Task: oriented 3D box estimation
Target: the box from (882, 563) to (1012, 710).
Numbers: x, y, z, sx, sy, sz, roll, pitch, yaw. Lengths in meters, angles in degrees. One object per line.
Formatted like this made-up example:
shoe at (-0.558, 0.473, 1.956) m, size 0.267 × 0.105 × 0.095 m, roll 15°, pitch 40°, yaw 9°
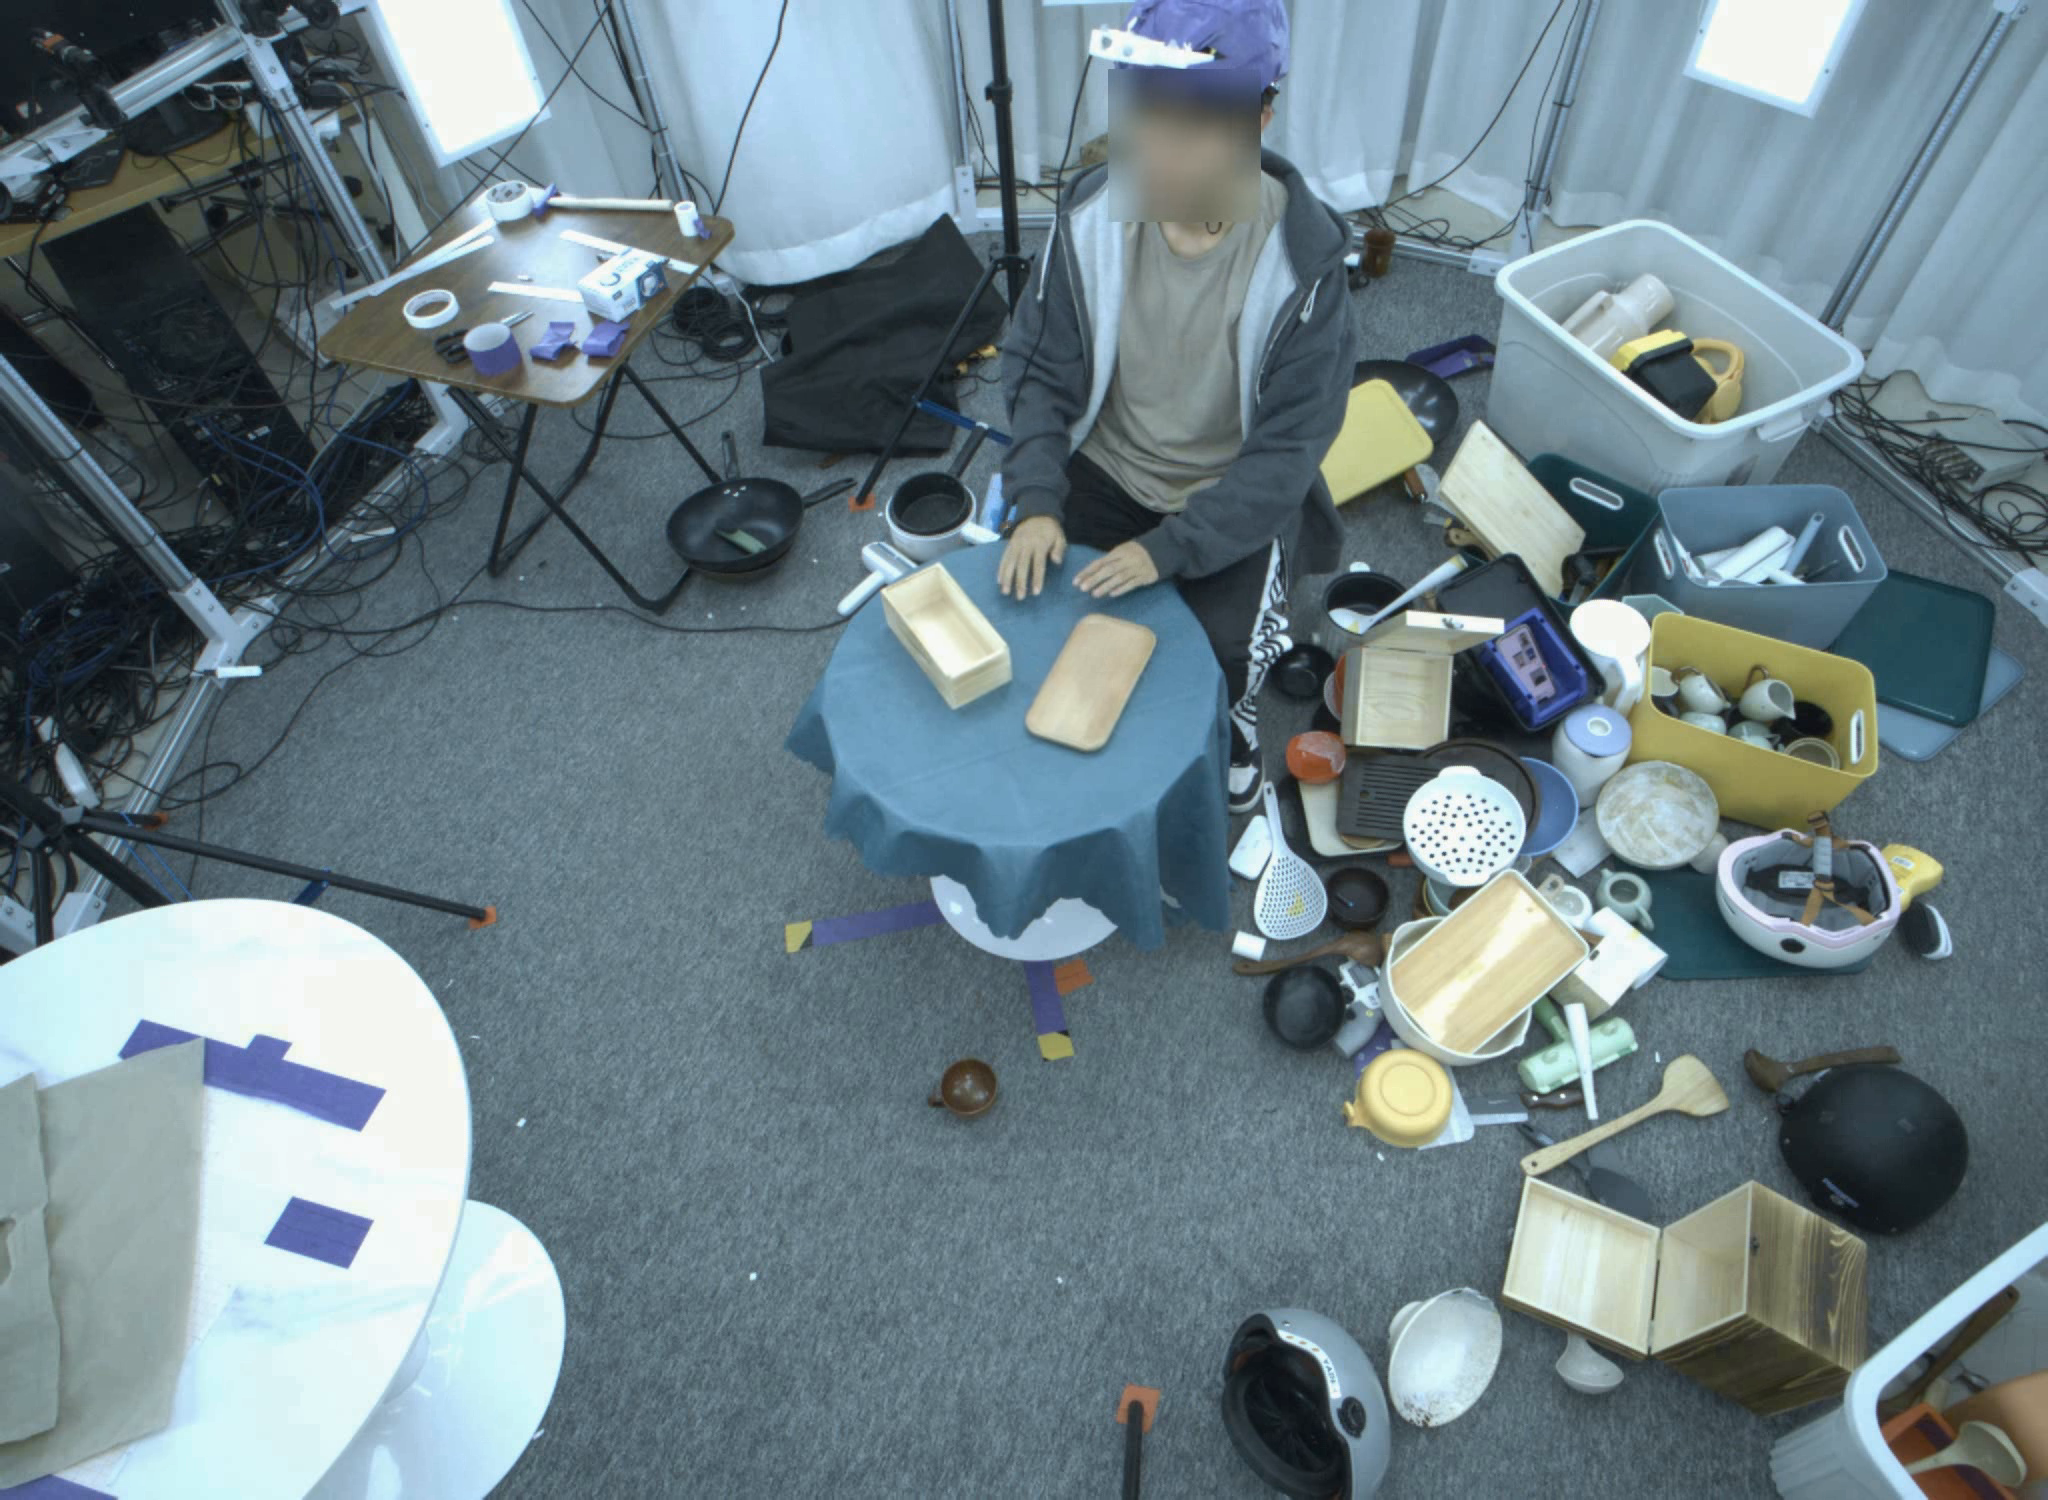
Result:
box at (-0.119, -0.176, 1.871) m, size 0.108 × 0.081 × 0.207 m, roll -28°, pitch 58°, yaw -17°

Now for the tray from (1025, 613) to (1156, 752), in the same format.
tray at (0.102, -0.104, 1.850) m, size 0.129 × 0.023 × 0.251 m, roll 21°, pitch 57°, yaw 13°
